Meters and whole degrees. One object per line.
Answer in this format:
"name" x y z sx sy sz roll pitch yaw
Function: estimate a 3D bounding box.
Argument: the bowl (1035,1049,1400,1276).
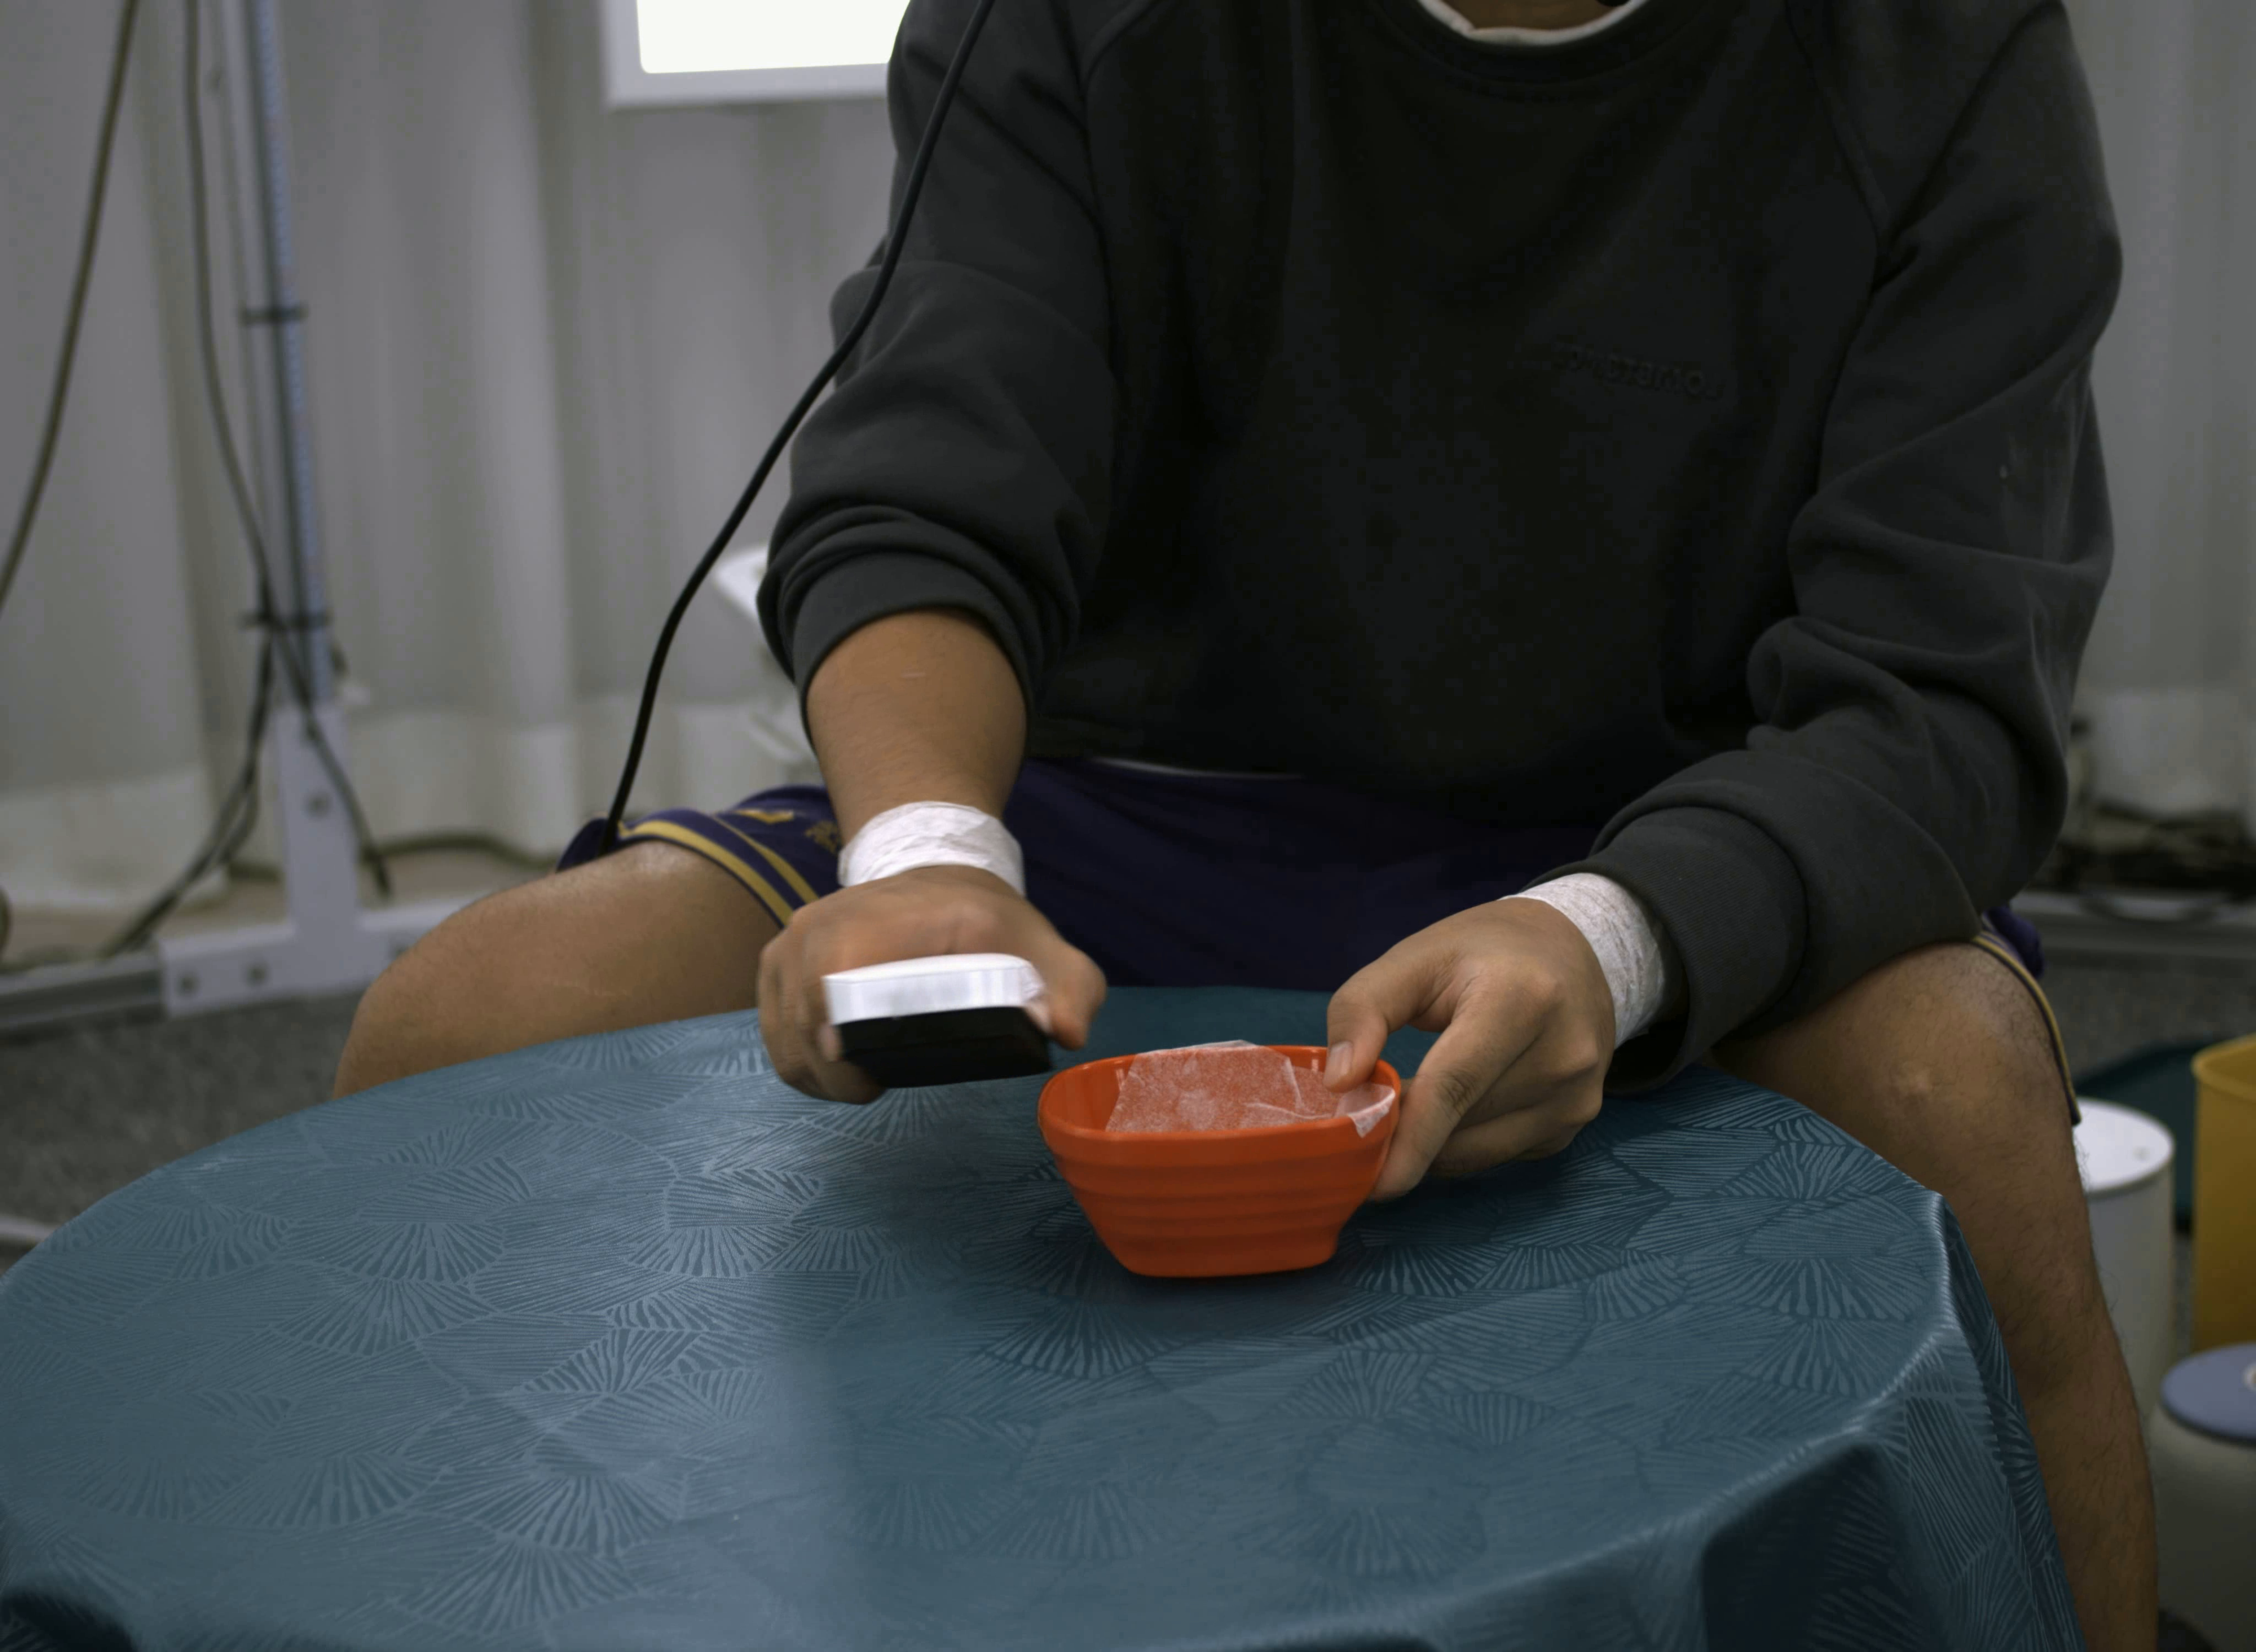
"bowl" 0.028 0.103 1.648 0.118 0.051 0.119 -4 9 0

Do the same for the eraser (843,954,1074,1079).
"eraser" -0.049 0.057 1.670 0.063 0.035 0.131 -4 -6 5
